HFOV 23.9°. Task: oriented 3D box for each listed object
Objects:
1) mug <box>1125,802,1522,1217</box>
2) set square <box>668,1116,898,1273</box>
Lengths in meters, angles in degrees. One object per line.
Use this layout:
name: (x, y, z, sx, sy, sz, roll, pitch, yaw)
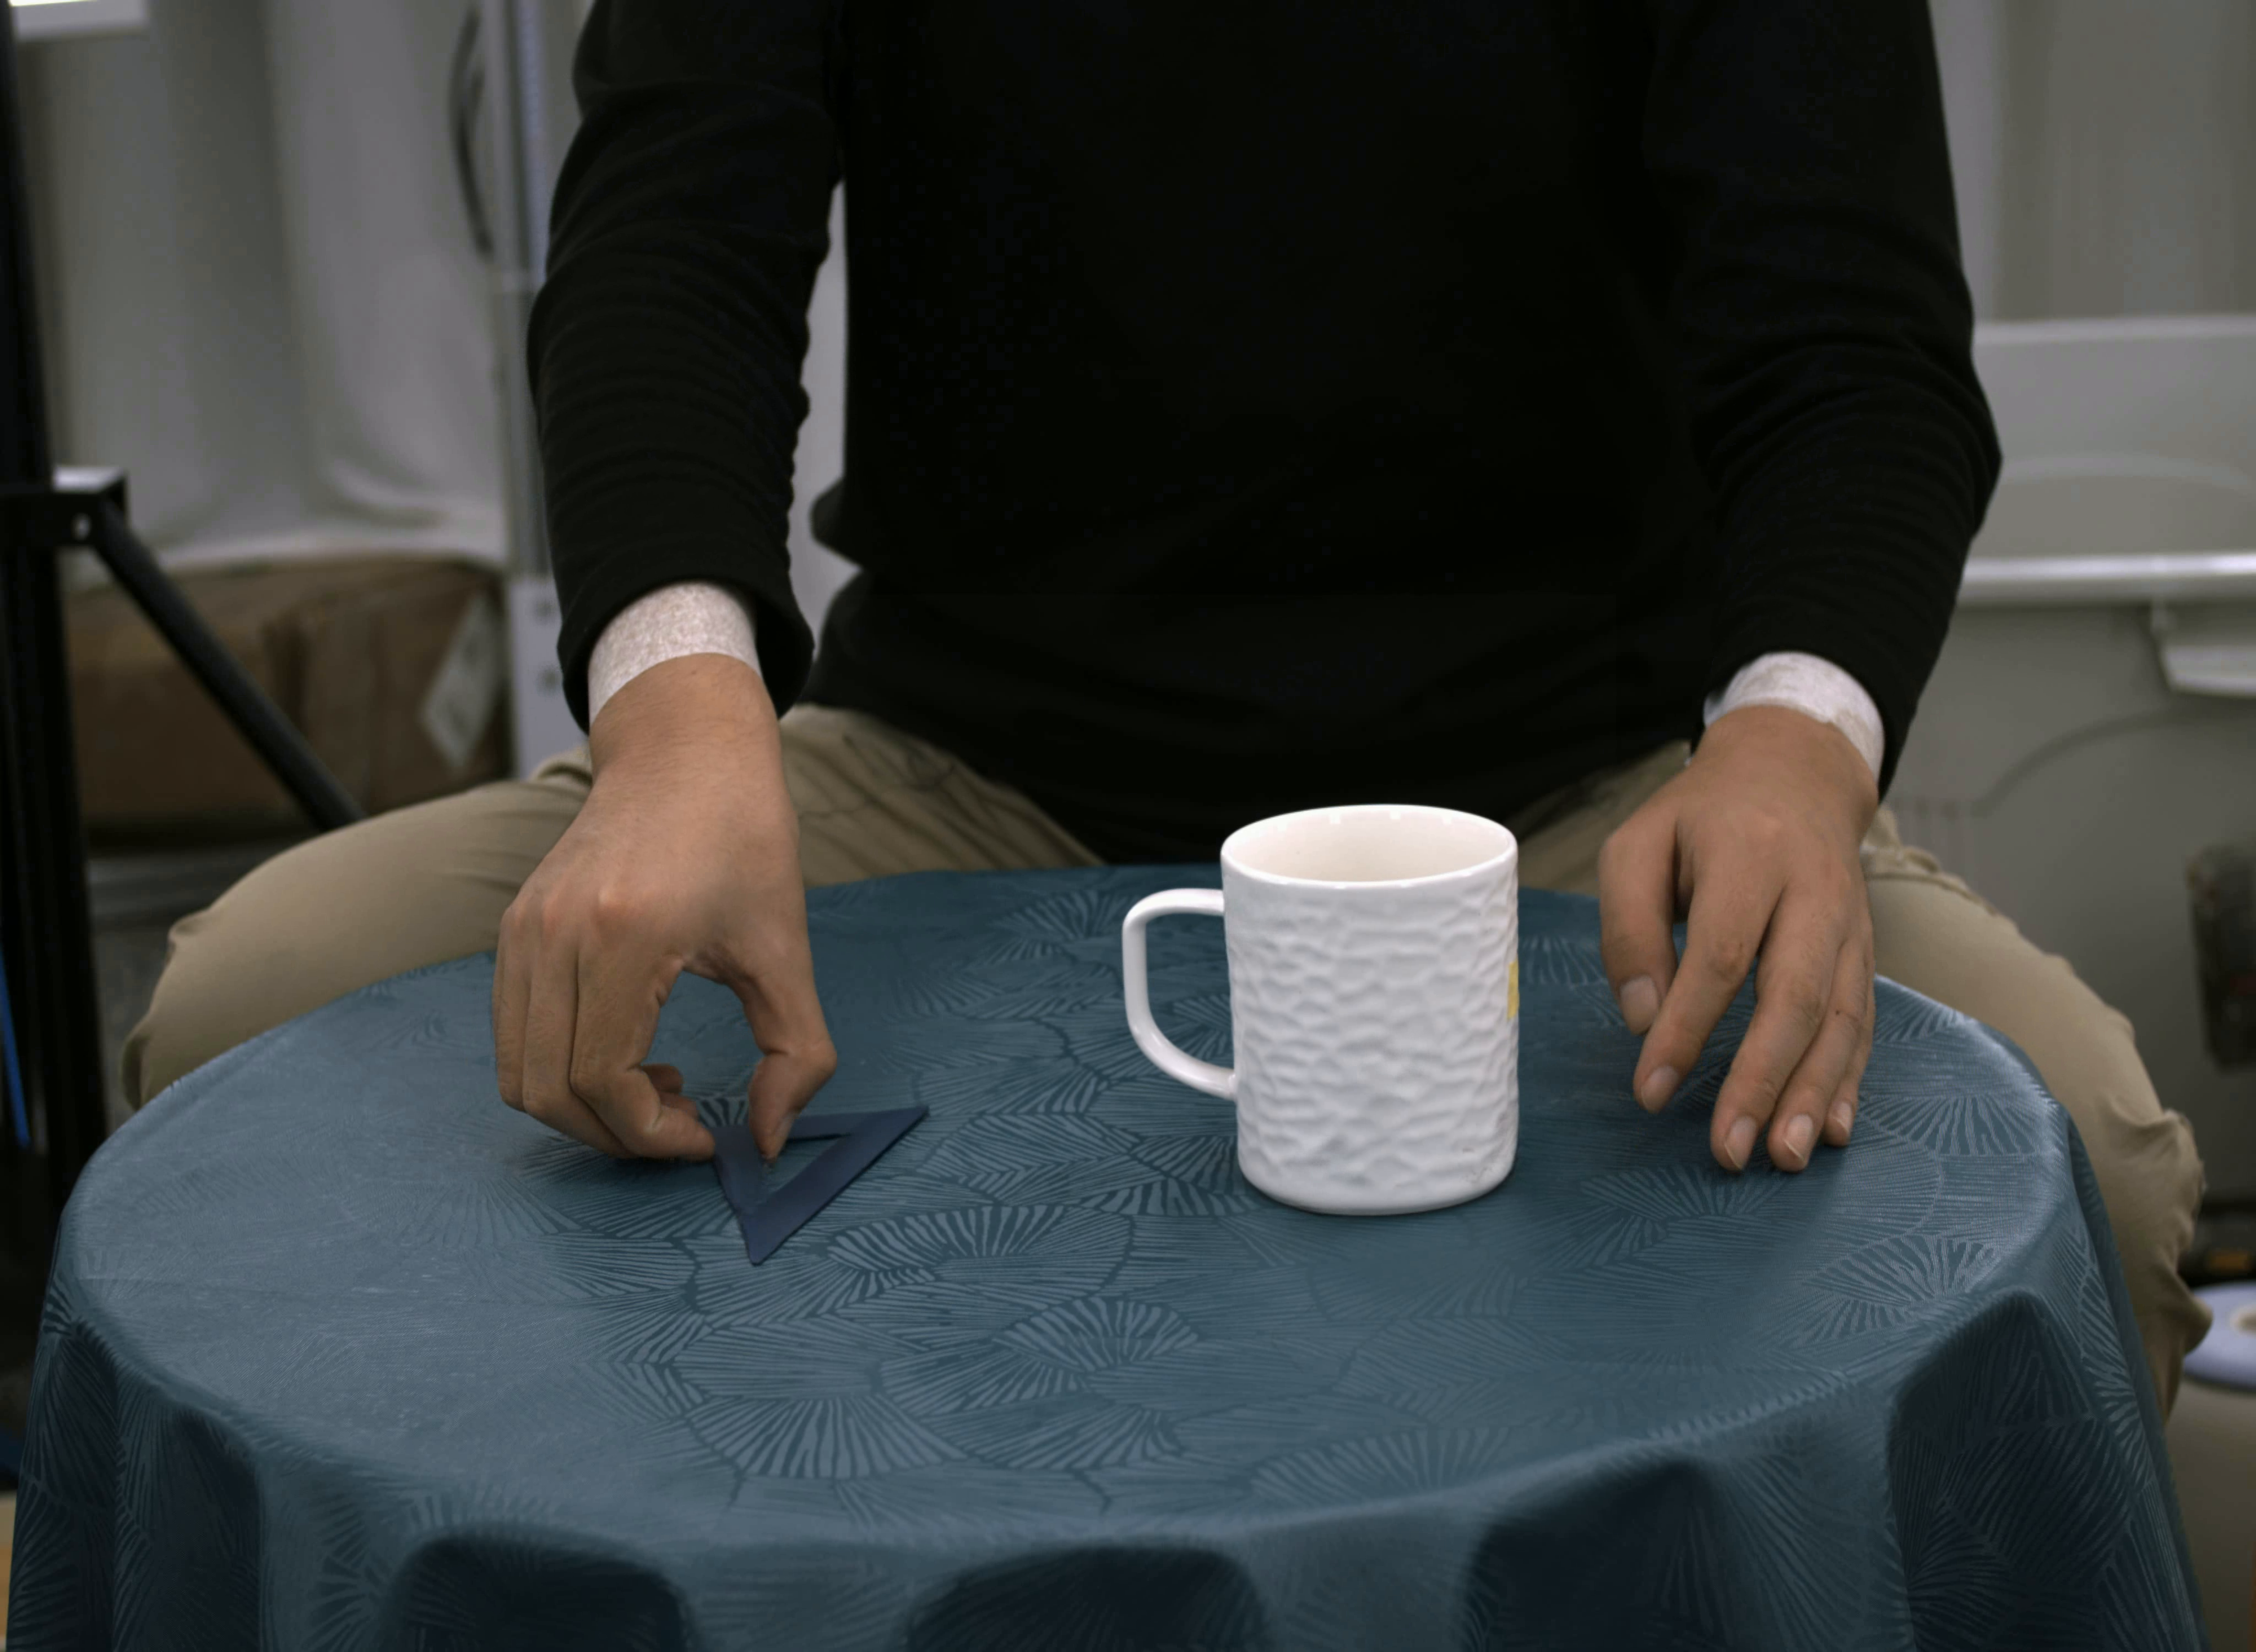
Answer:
mug: (0.057, 0.053, 1.554, 0.119, 0.102, 0.084, 2, 16, 16)
set square: (-0.120, 0.106, 1.579, 0.062, 0.006, 0.130, 4, 18, 24)
